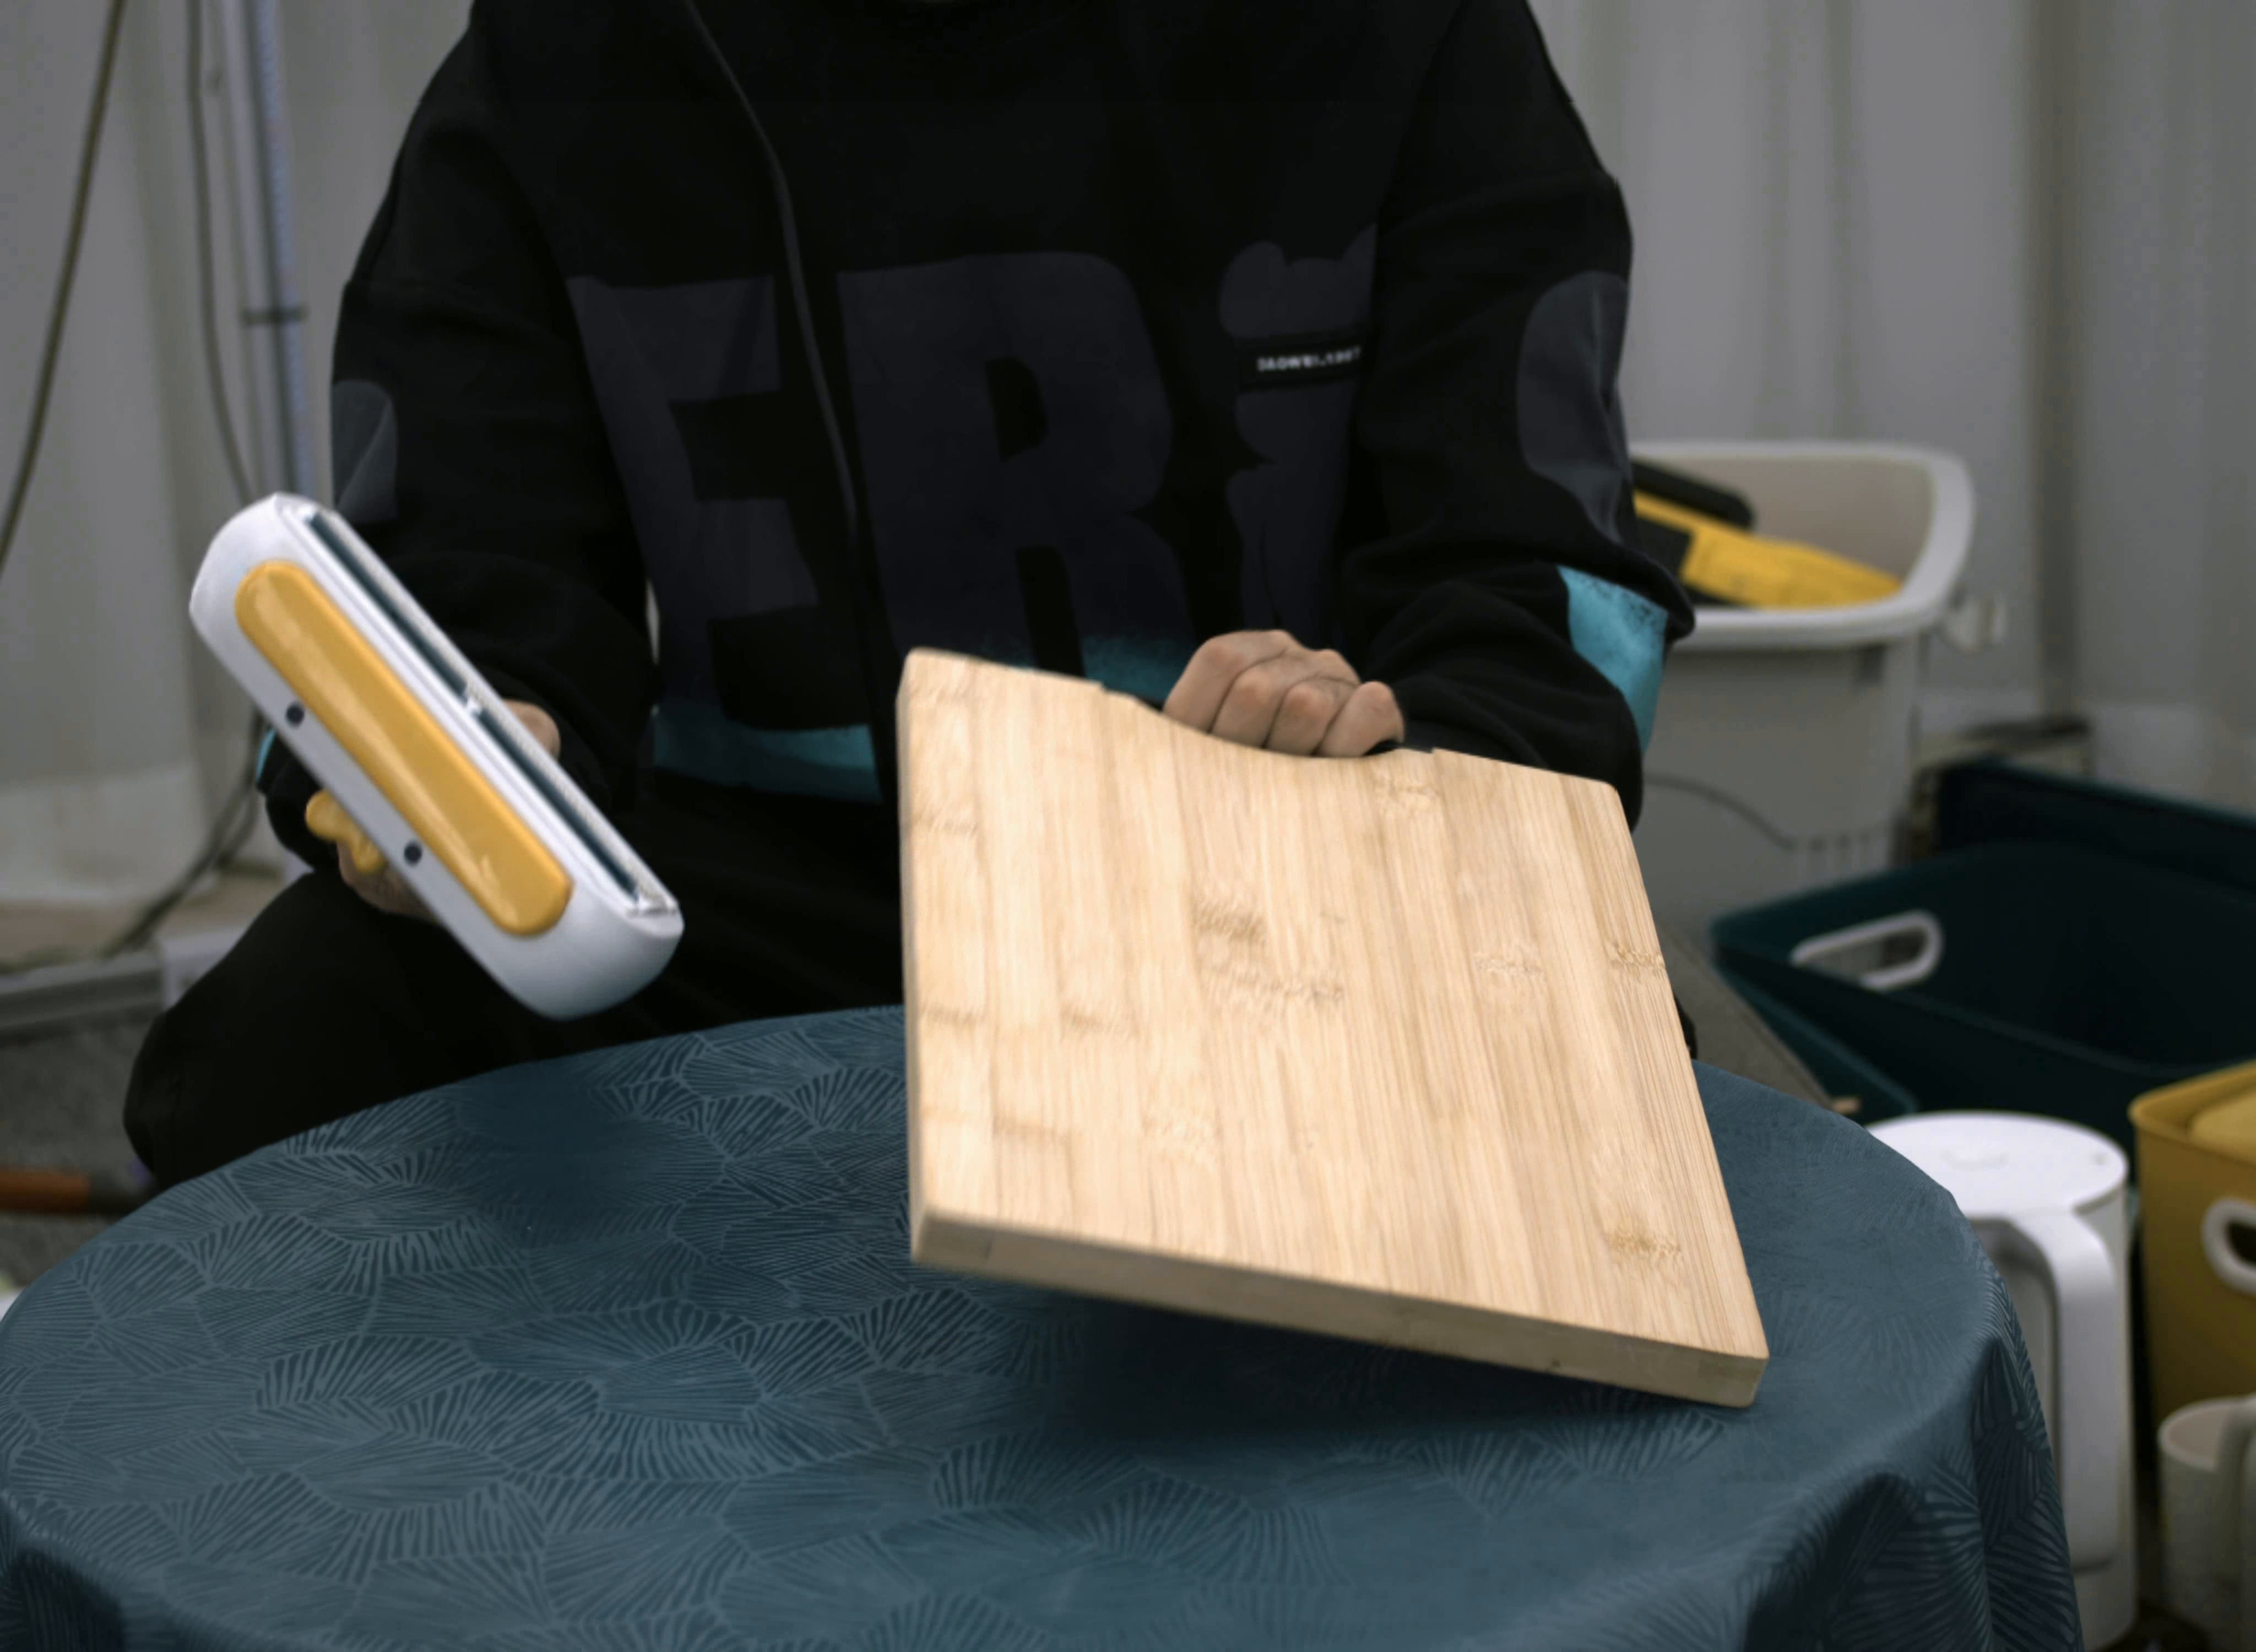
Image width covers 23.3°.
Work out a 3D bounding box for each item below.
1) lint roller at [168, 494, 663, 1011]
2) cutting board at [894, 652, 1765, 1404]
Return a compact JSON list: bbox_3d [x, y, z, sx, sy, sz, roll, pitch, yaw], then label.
[{"bbox_3d":[-0.211,-0.010,1.739,0.194,0.074,0.191,44,3,15],"label":"lint roller"},{"bbox_3d":[0.050,0.052,1.644,0.249,0.023,0.353,9,27,-9],"label":"cutting board"}]
